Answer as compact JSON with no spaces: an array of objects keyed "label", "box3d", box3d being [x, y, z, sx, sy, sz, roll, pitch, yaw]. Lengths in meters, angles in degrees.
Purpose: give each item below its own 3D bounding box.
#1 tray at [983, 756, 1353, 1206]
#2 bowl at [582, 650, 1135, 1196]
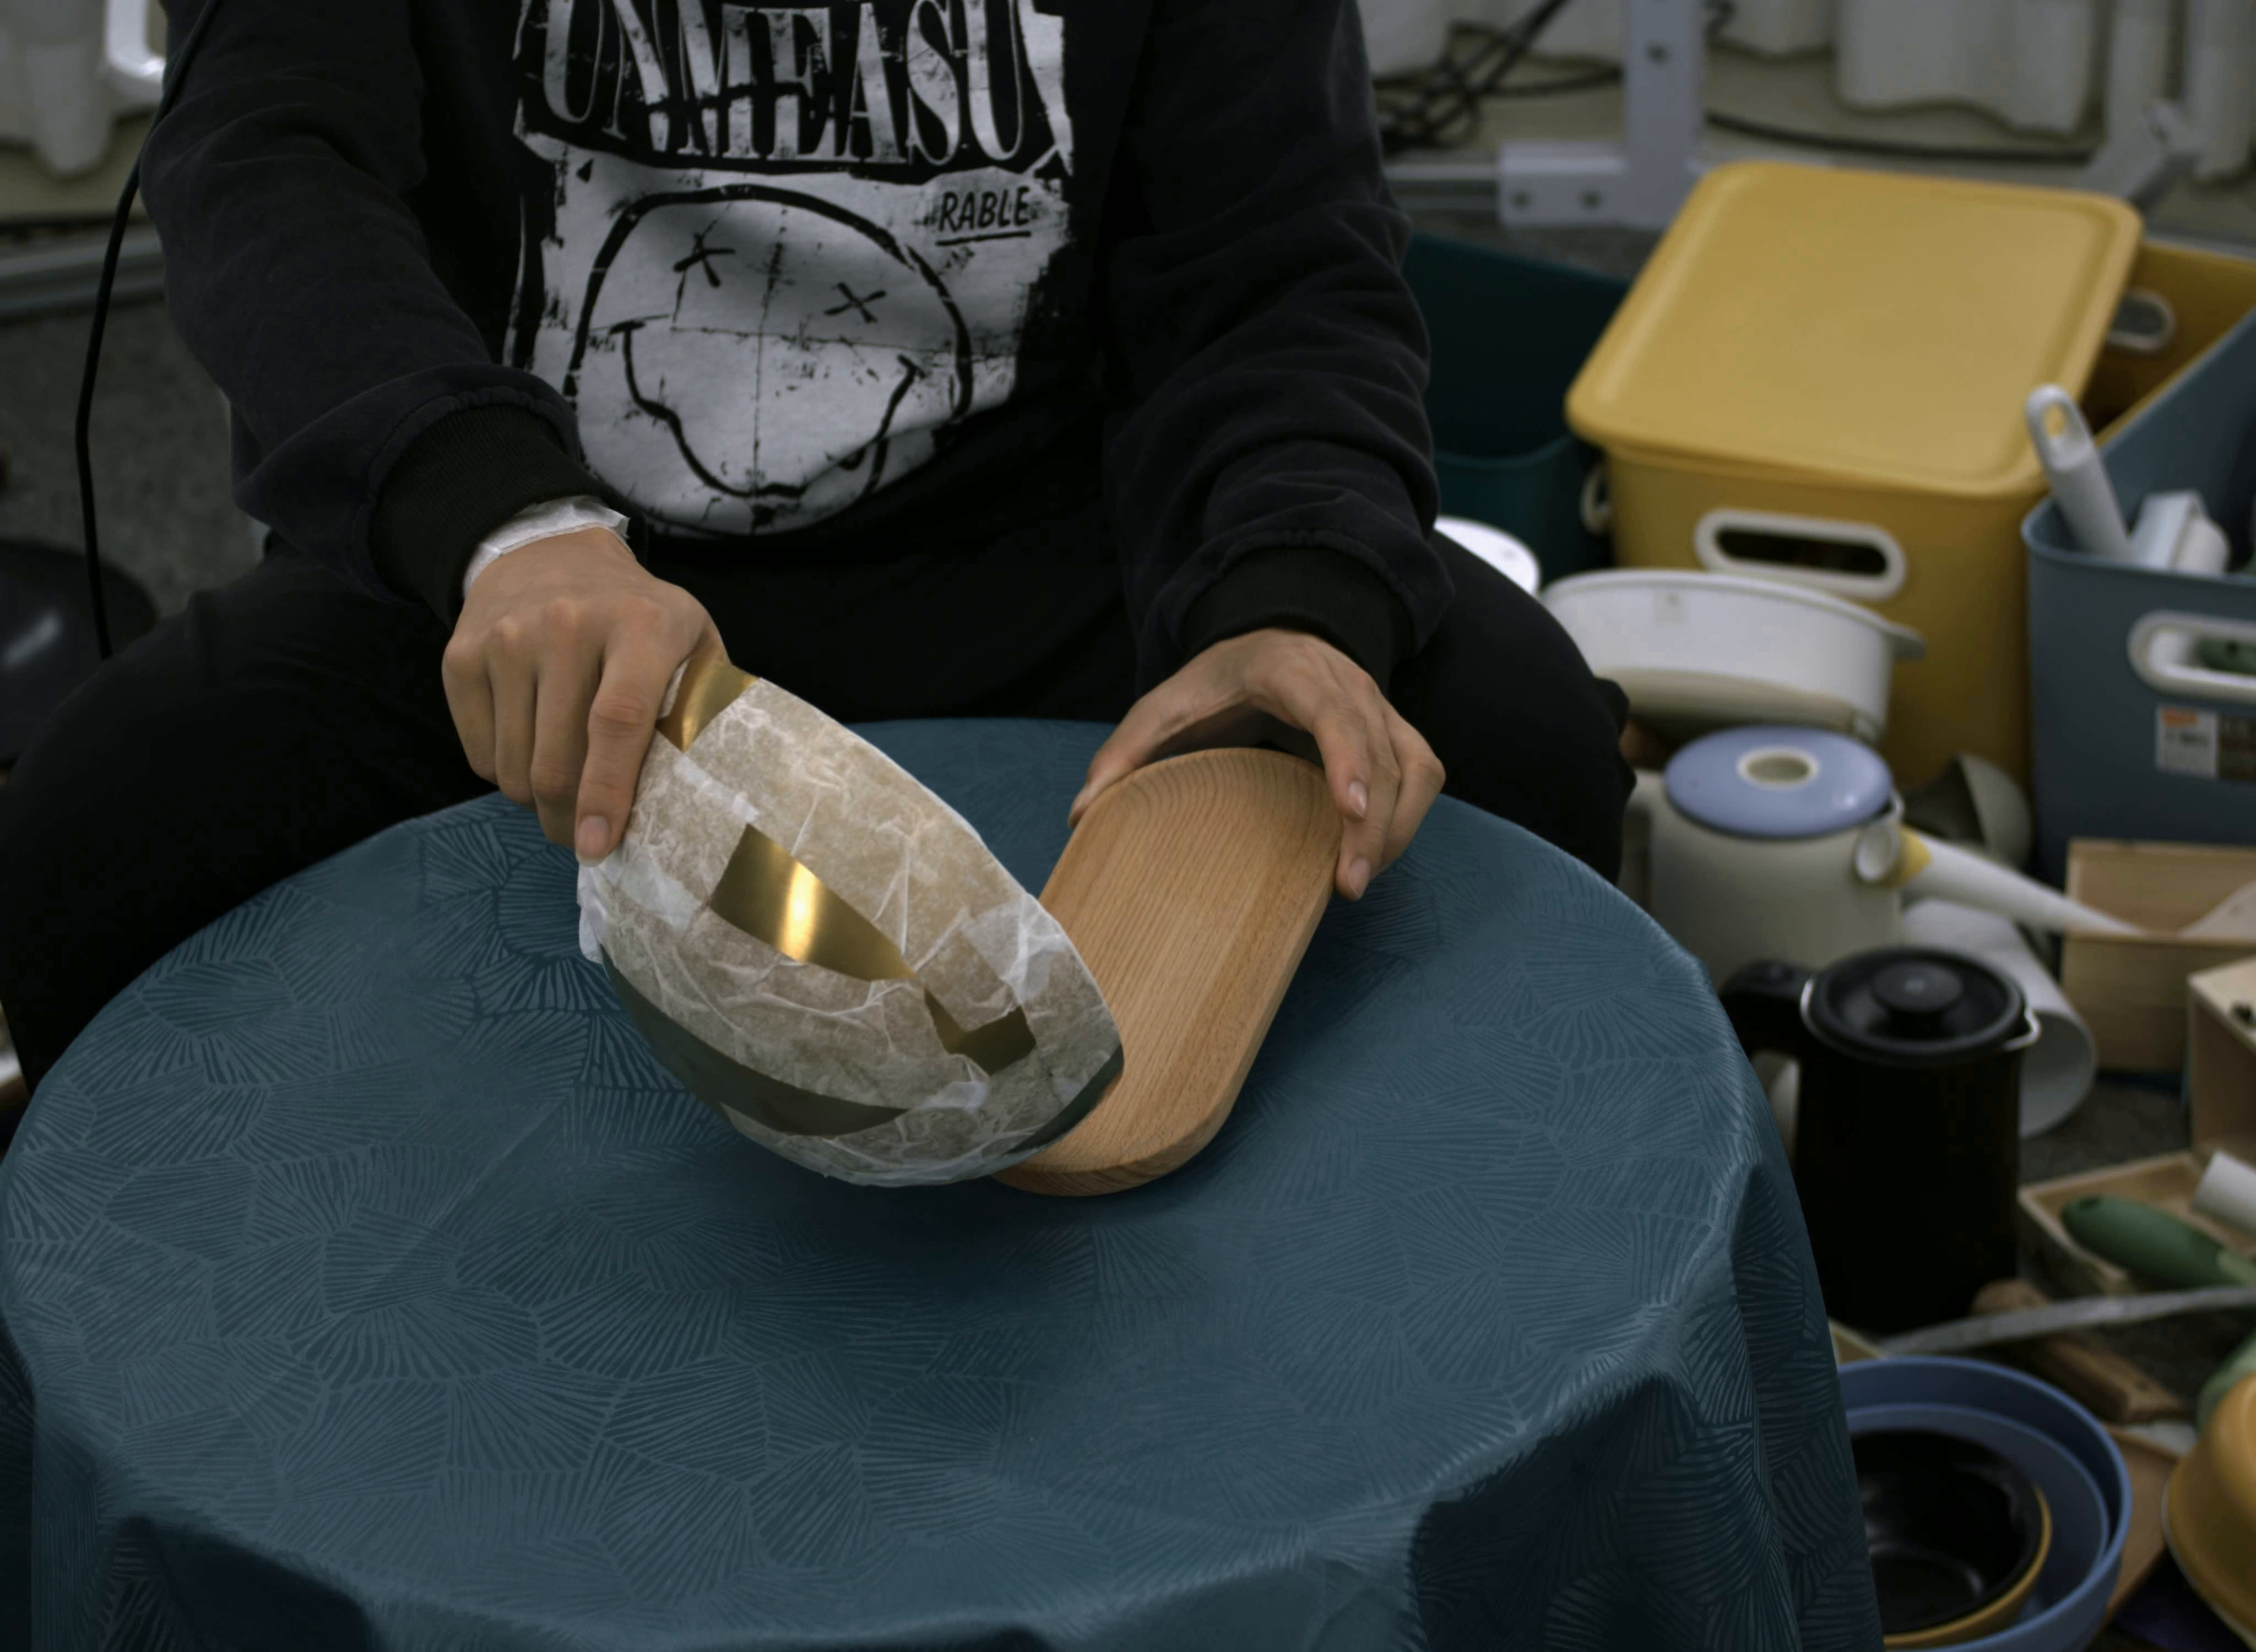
[{"label":"tray","box3d":[0.011,0.051,1.936,0.101,0.020,0.236,2,39,20]},{"label":"bowl","box3d":[-0.105,0.052,1.809,0.214,0.212,0.096,24,63,42]}]
